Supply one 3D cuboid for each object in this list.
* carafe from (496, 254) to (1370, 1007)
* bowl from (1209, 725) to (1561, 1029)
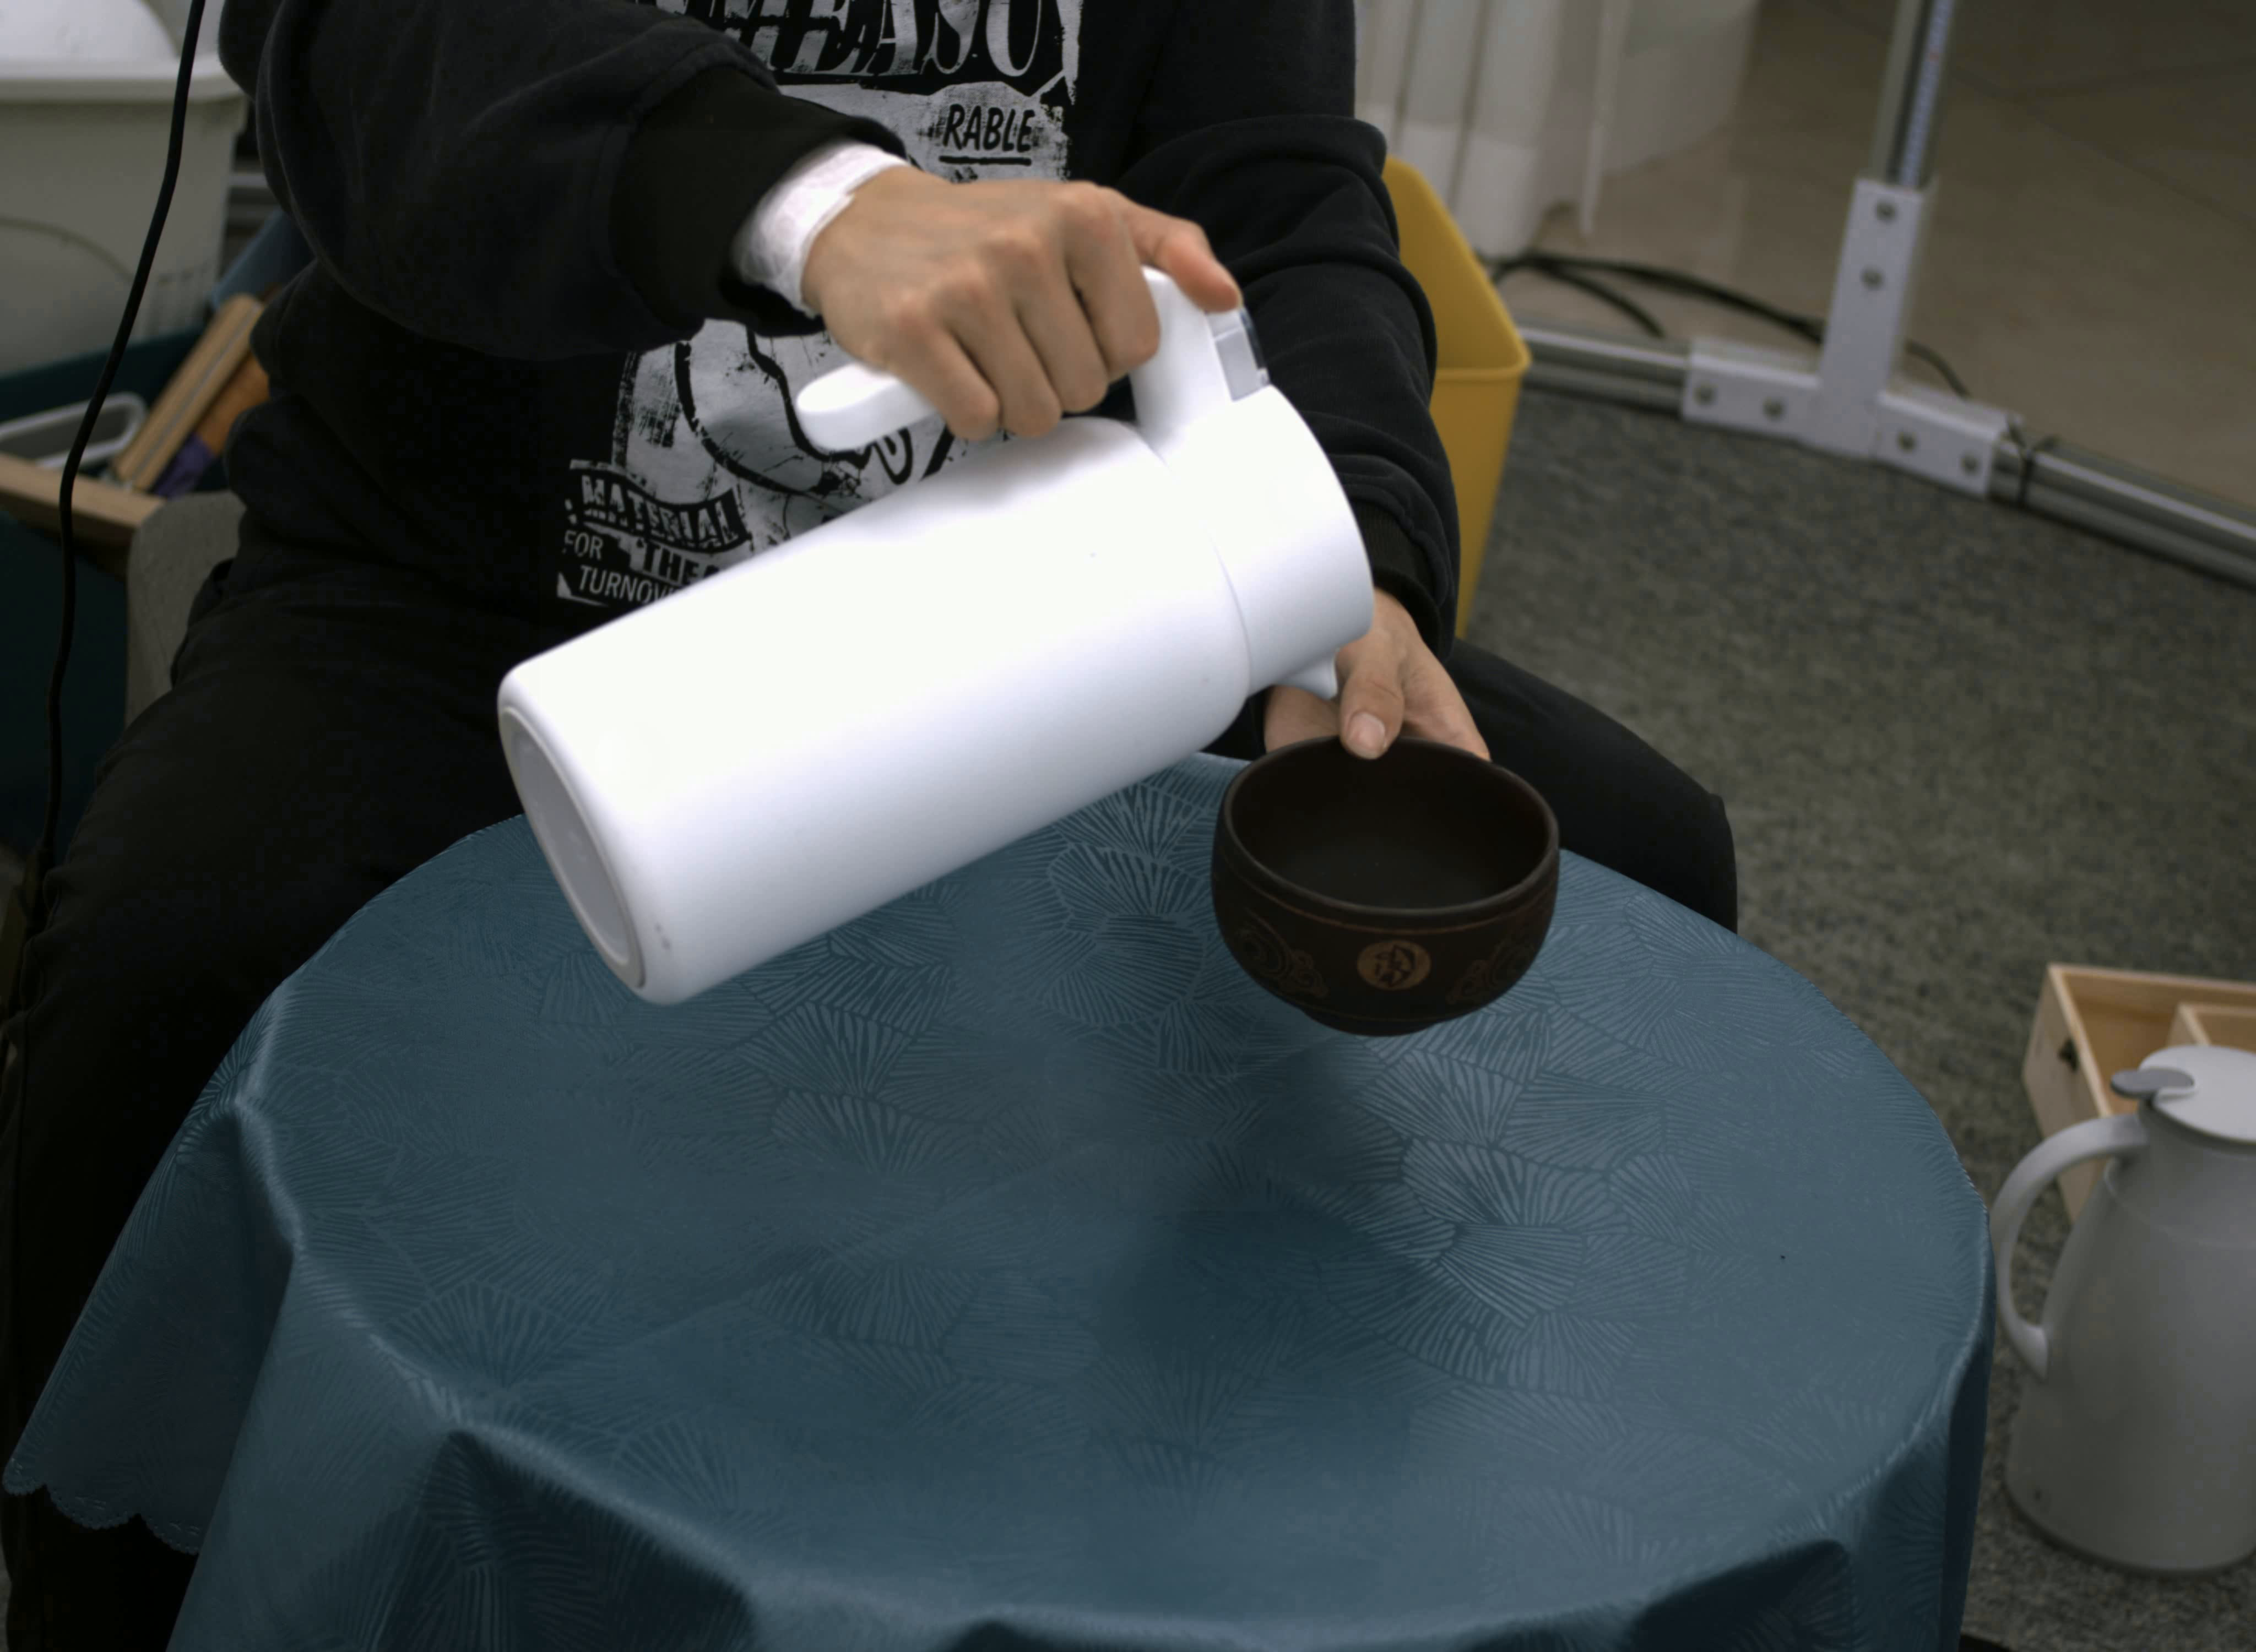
[{"bbox_3d":[-0.064,-0.063,1.684,0.268,0.172,0.125,-25,28,-13],"label":"carafe"},{"bbox_3d":[0.085,0.024,1.789,0.117,0.069,0.119,2,31,-2],"label":"bowl"}]
